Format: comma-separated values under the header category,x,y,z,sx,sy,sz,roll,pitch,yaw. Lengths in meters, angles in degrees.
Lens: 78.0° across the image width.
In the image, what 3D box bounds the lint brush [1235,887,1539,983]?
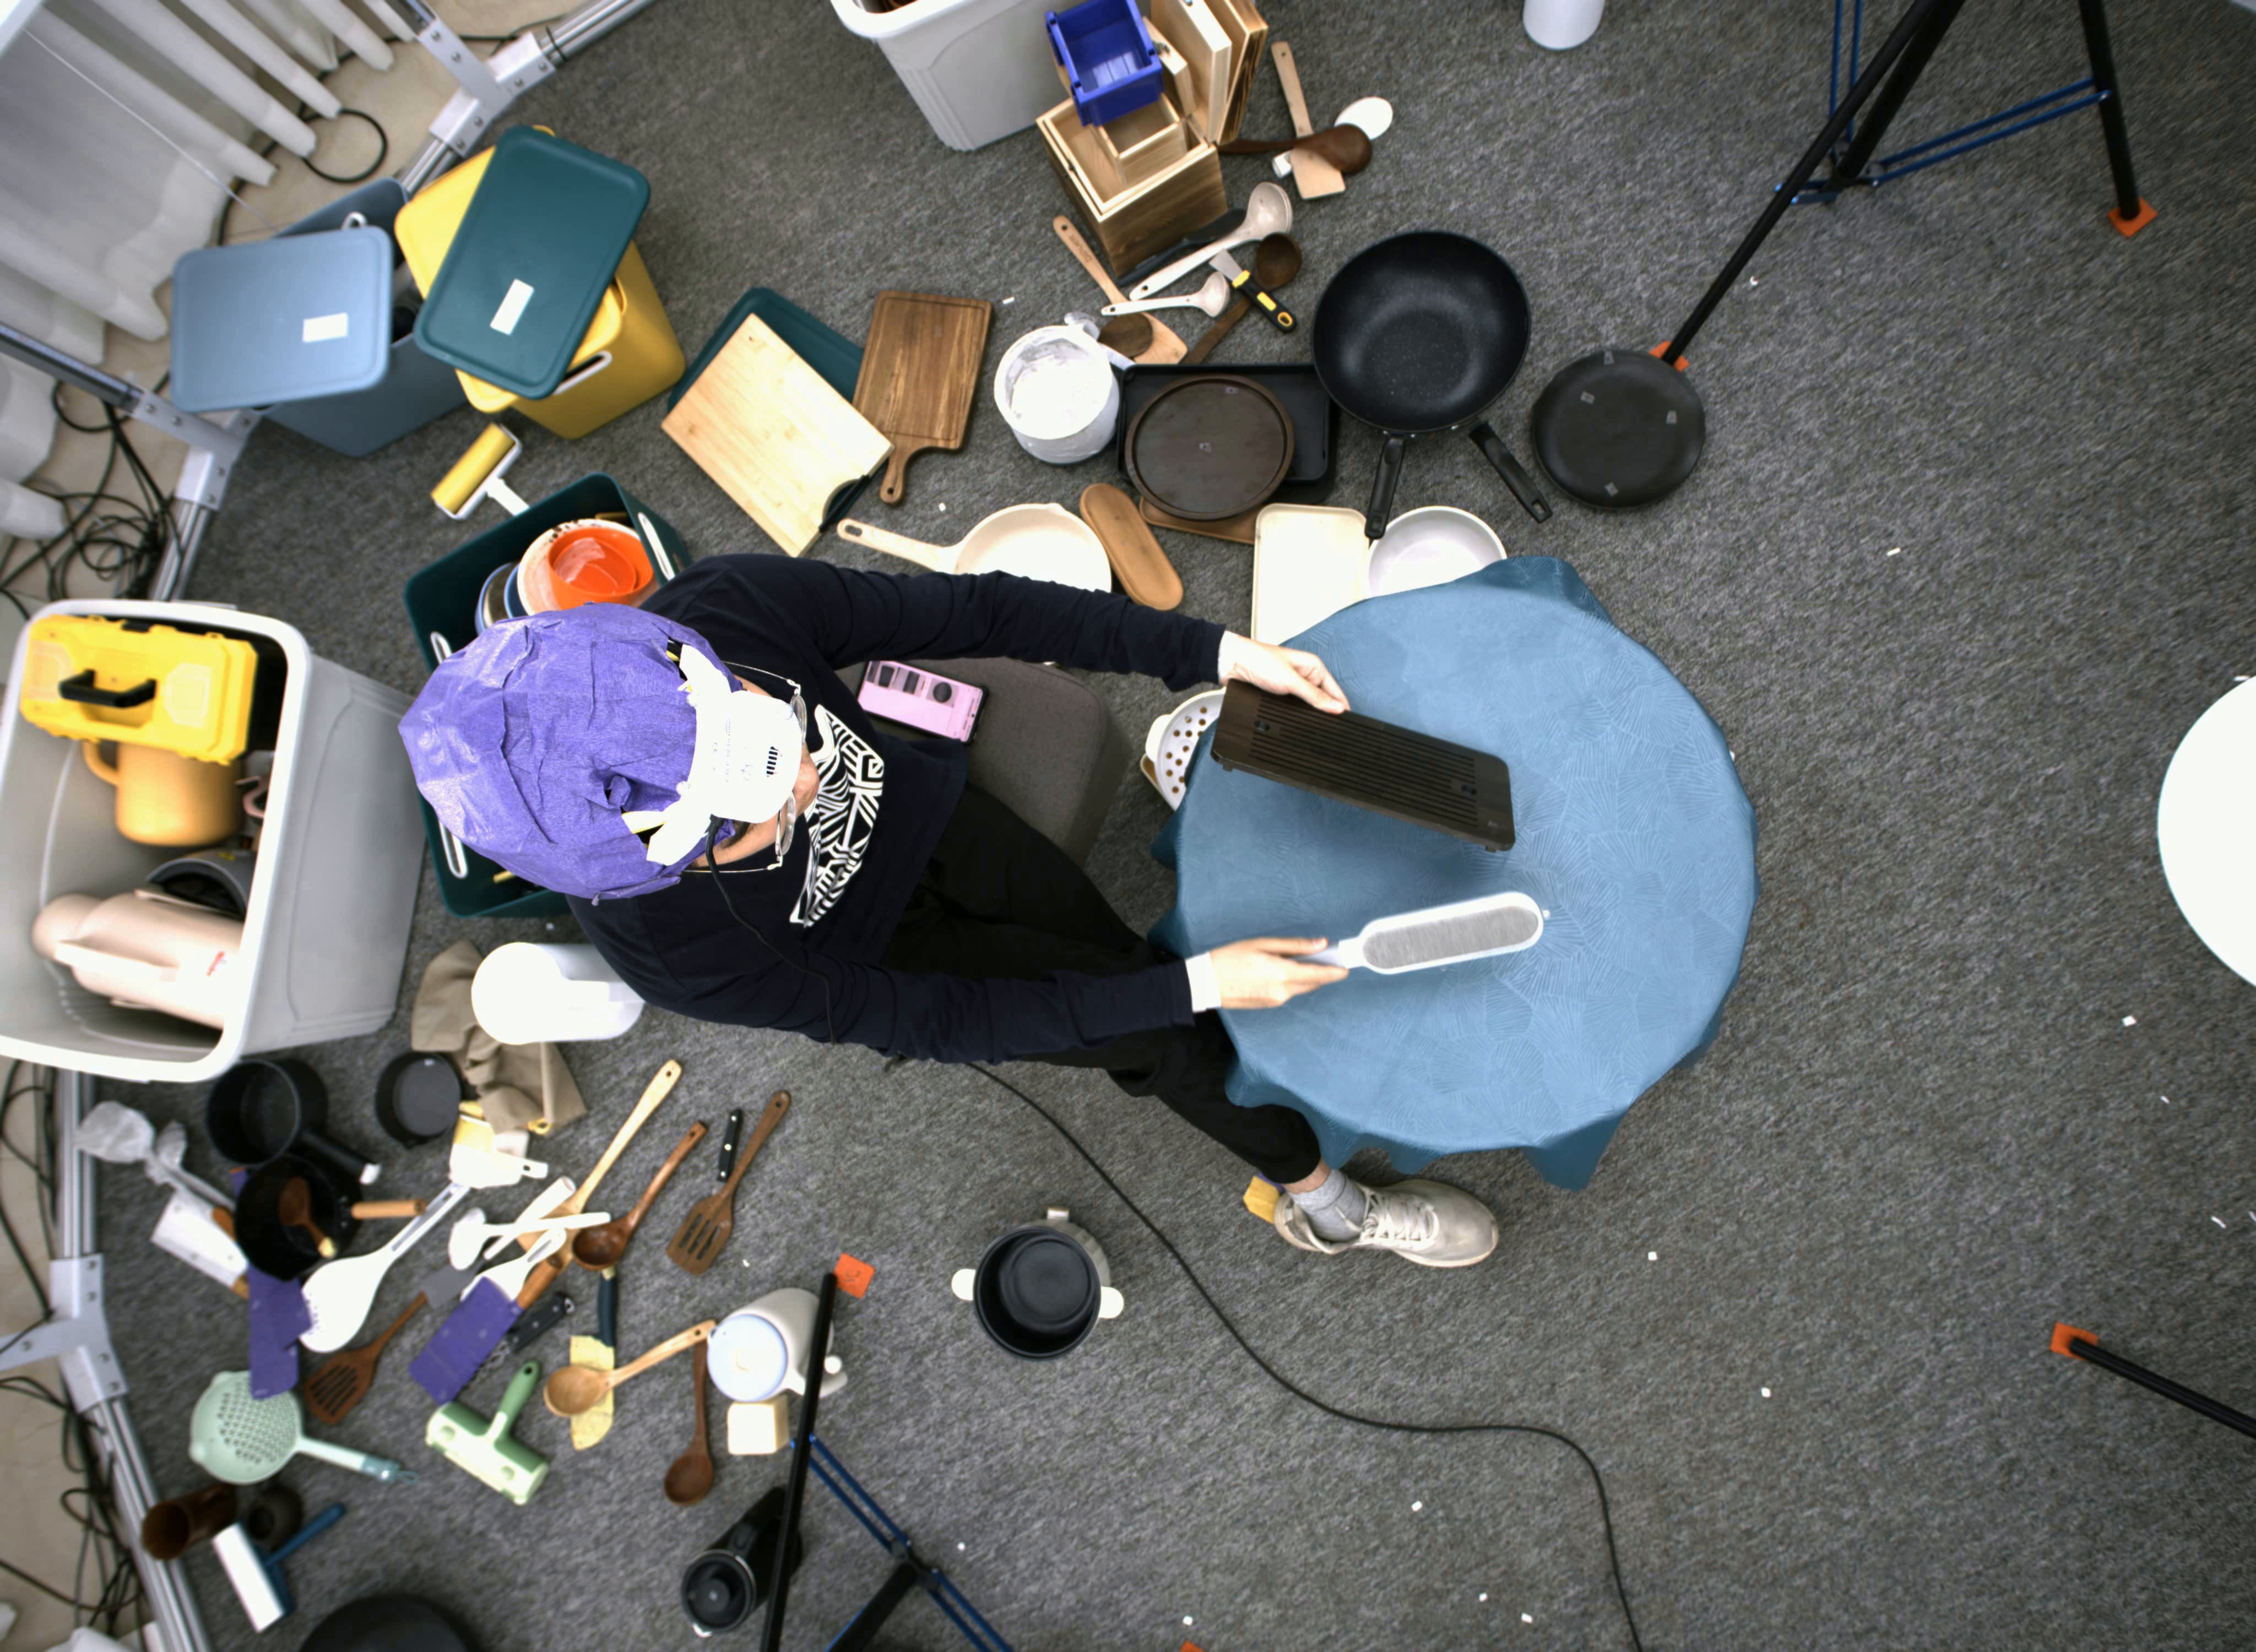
category,x,y,z,sx,sy,sz,roll,pitch,yaw
lint brush,0.252,0.112,1.371,0.312,0.020,0.061,-15,116,20

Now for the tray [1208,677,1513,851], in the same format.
category,x,y,z,sx,sy,sz,roll,pitch,yaw
tray,0.233,-0.064,1.373,0.306,0.165,0.019,17,125,0
